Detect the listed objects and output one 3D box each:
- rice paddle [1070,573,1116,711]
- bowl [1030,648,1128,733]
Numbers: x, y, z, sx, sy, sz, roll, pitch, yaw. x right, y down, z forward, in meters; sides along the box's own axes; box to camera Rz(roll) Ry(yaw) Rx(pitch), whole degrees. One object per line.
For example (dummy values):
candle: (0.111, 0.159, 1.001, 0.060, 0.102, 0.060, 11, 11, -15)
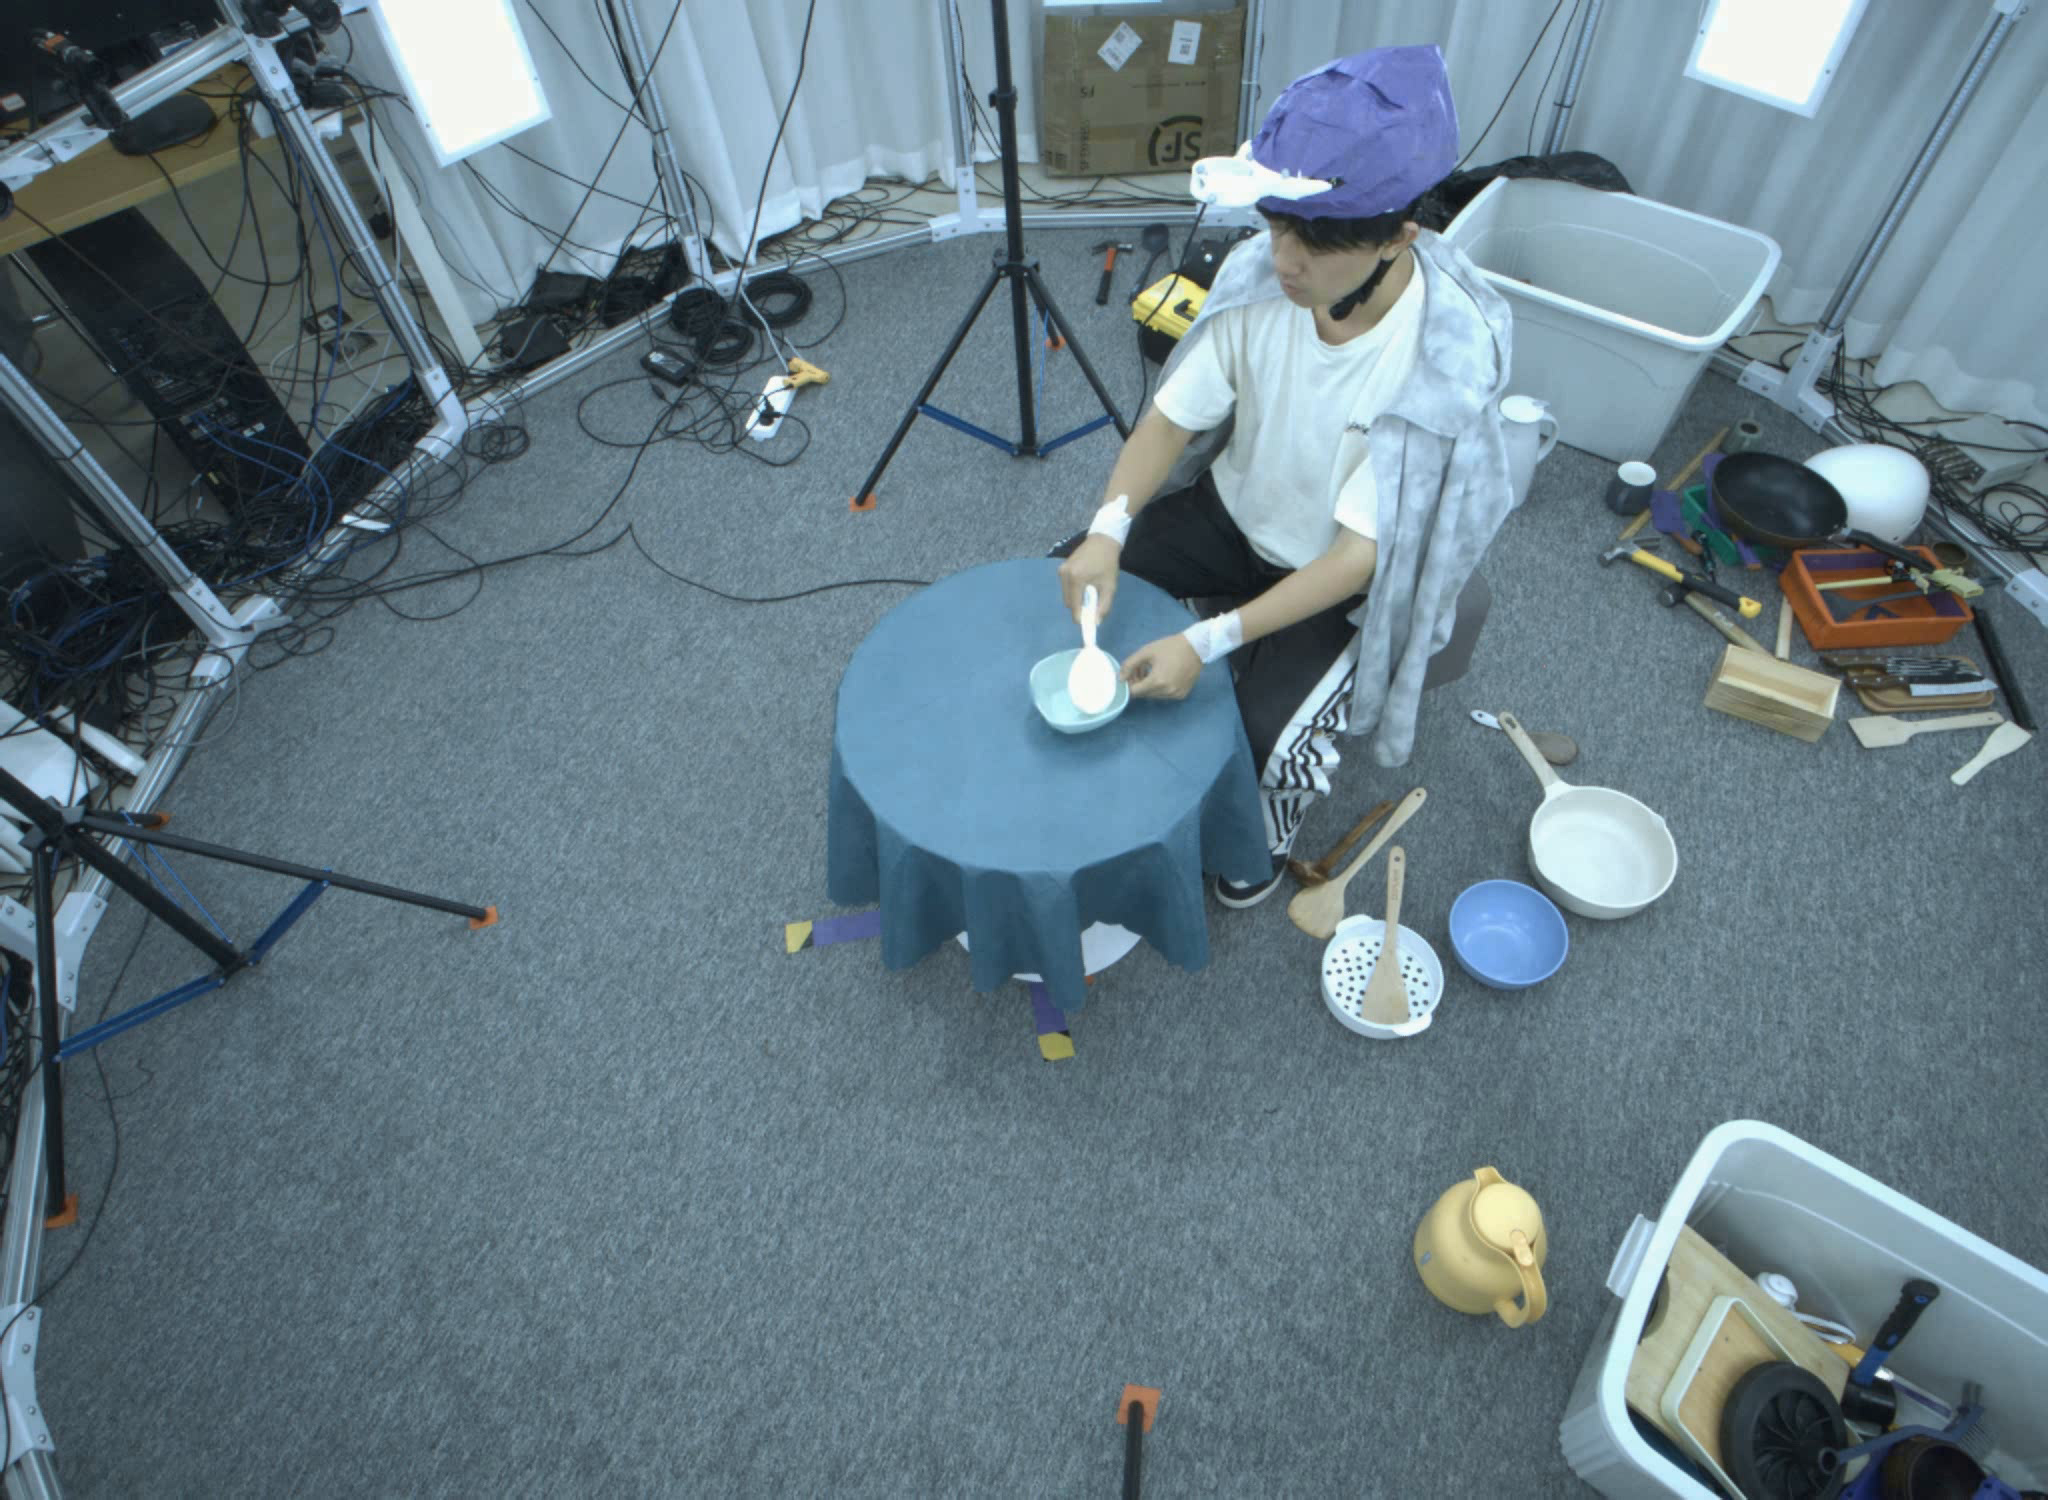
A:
rice paddle: (0.096, -0.156, 1.789, 0.068, 0.030, 0.204, -6, 80, 14)
bowl: (0.082, -0.078, 1.807, 0.151, 0.059, 0.150, -2, 55, 4)
